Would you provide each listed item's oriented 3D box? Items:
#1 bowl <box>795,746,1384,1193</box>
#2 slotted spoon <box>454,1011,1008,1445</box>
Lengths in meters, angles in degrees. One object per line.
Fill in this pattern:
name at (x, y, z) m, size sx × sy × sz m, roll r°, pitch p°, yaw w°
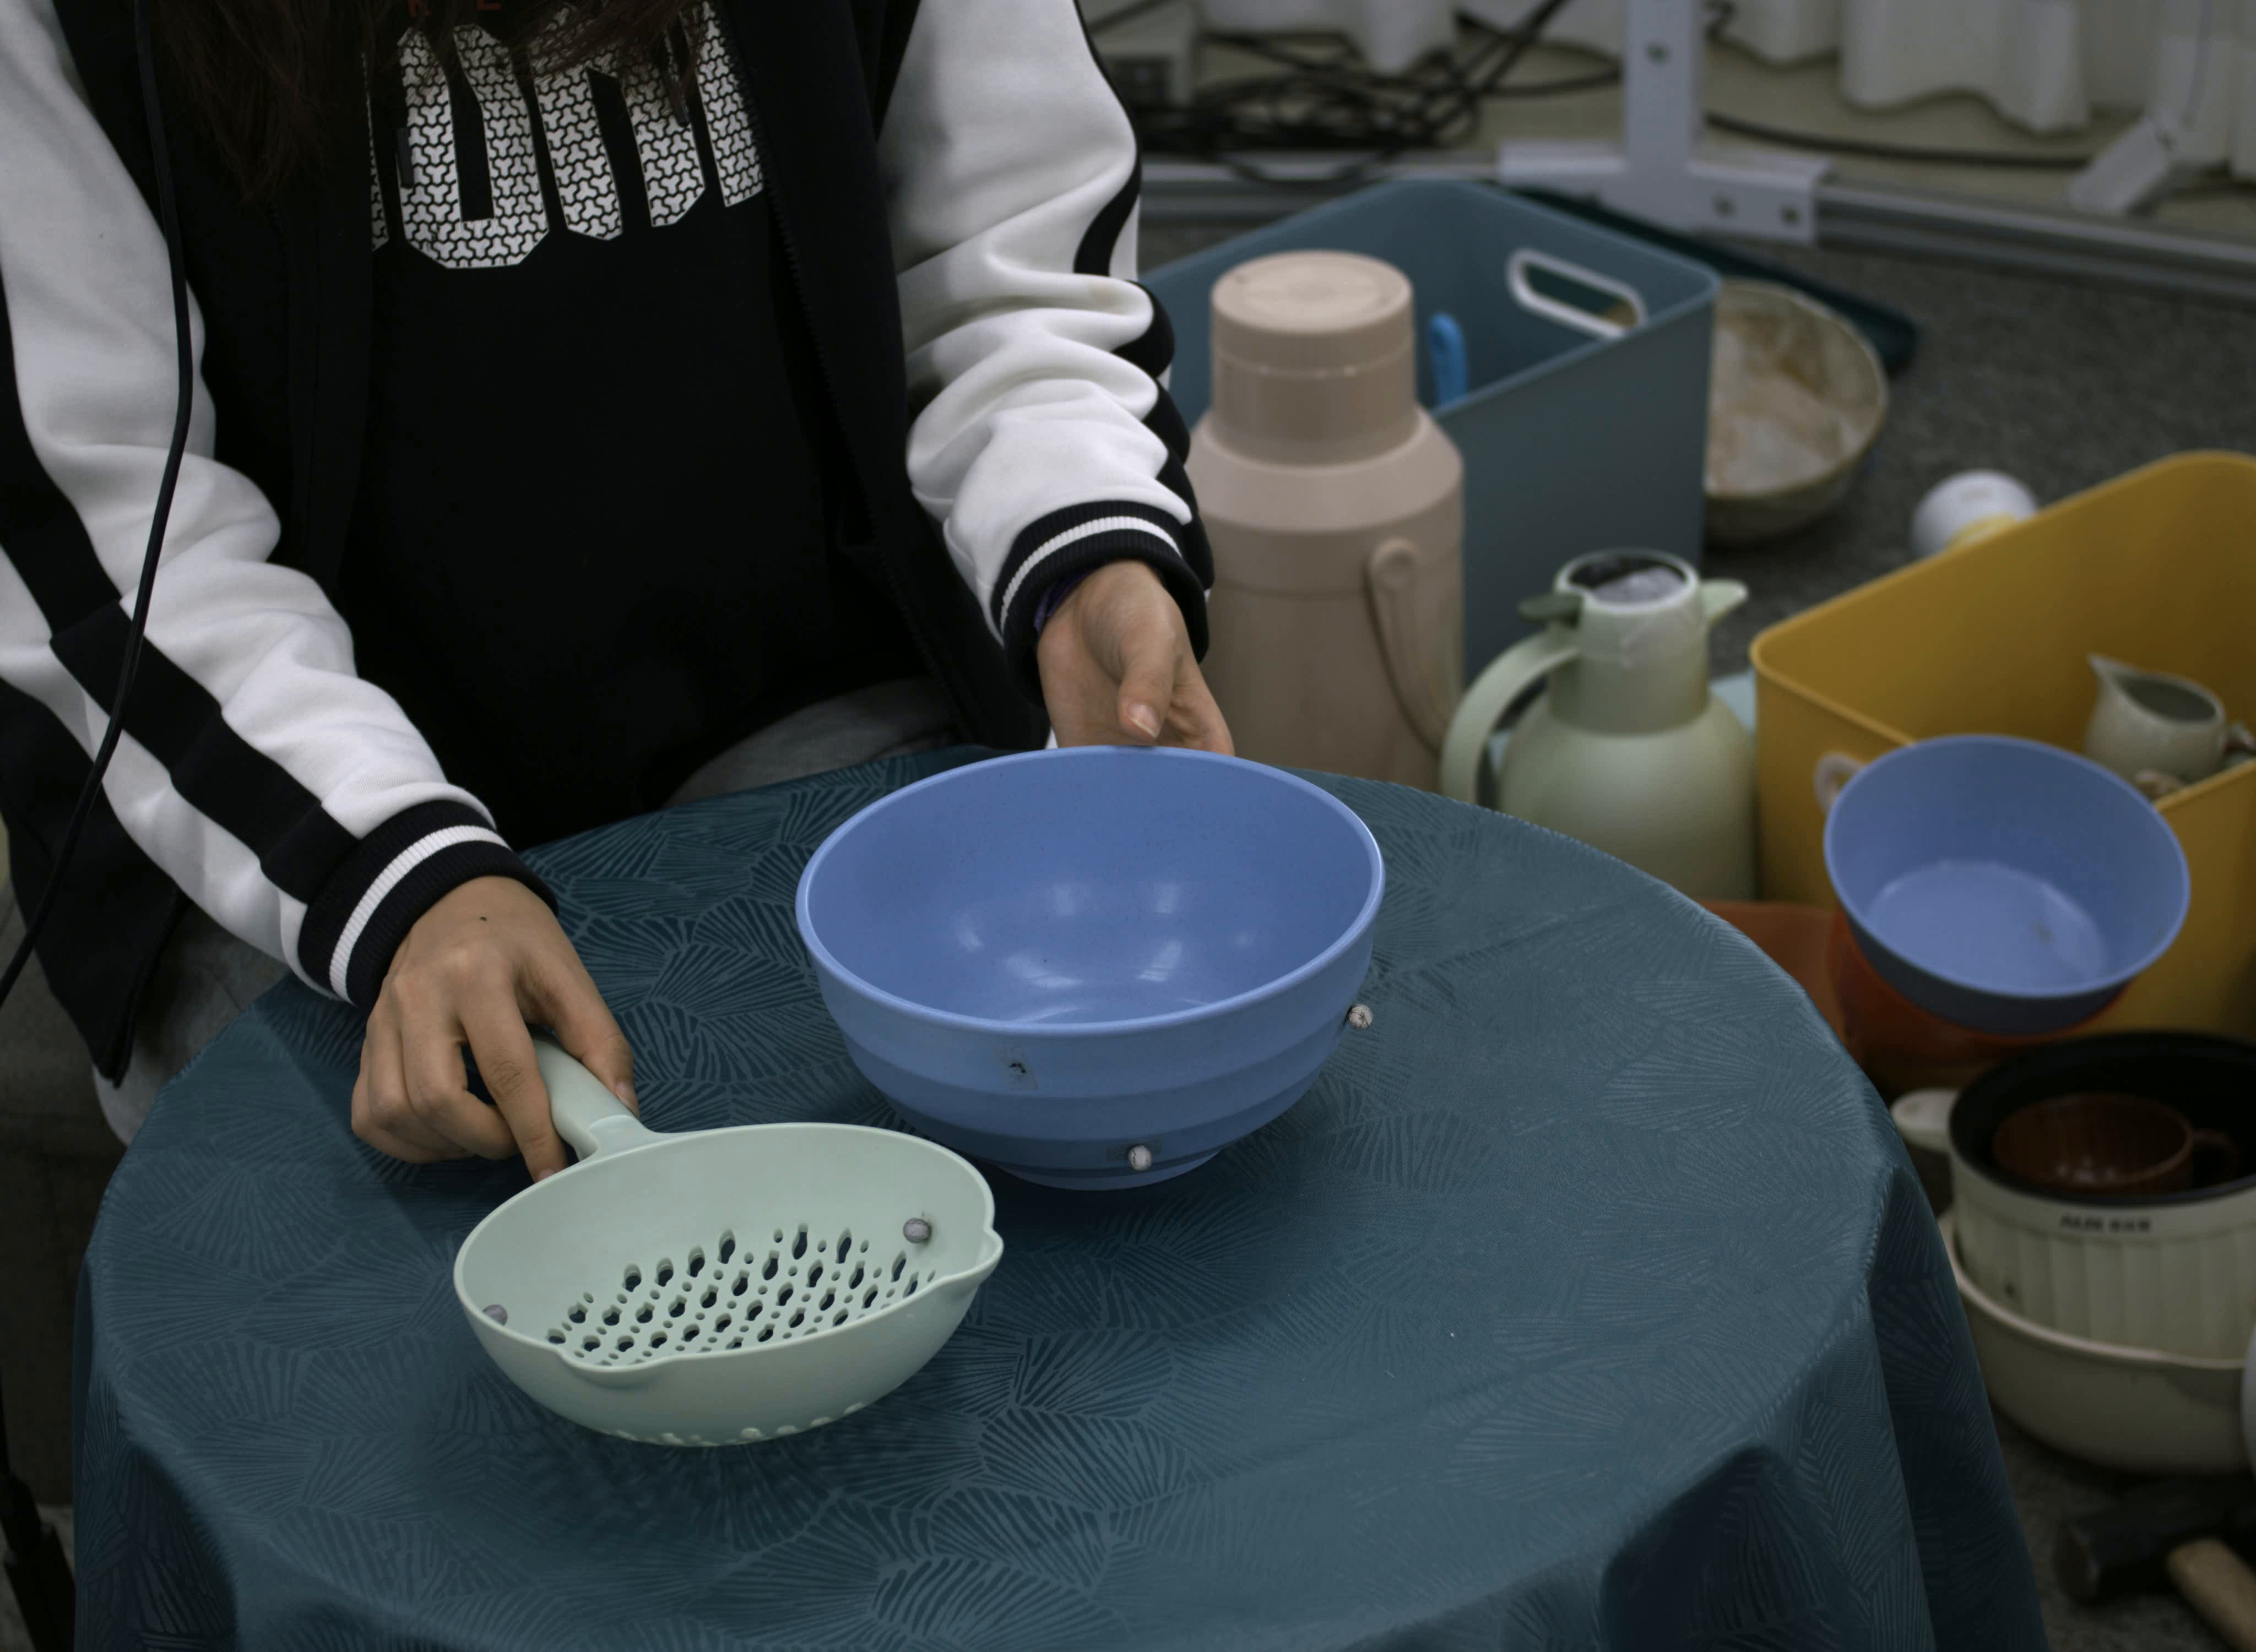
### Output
bowl at (-0.010, 0.059, 1.881) m, size 0.195 × 0.094 × 0.199 m, roll -3°, pitch 27°, yaw 2°
slotted spoon at (-0.162, 0.114, 1.830) m, size 0.170 × 0.074 × 0.361 m, roll -13°, pitch 27°, yaw -21°
